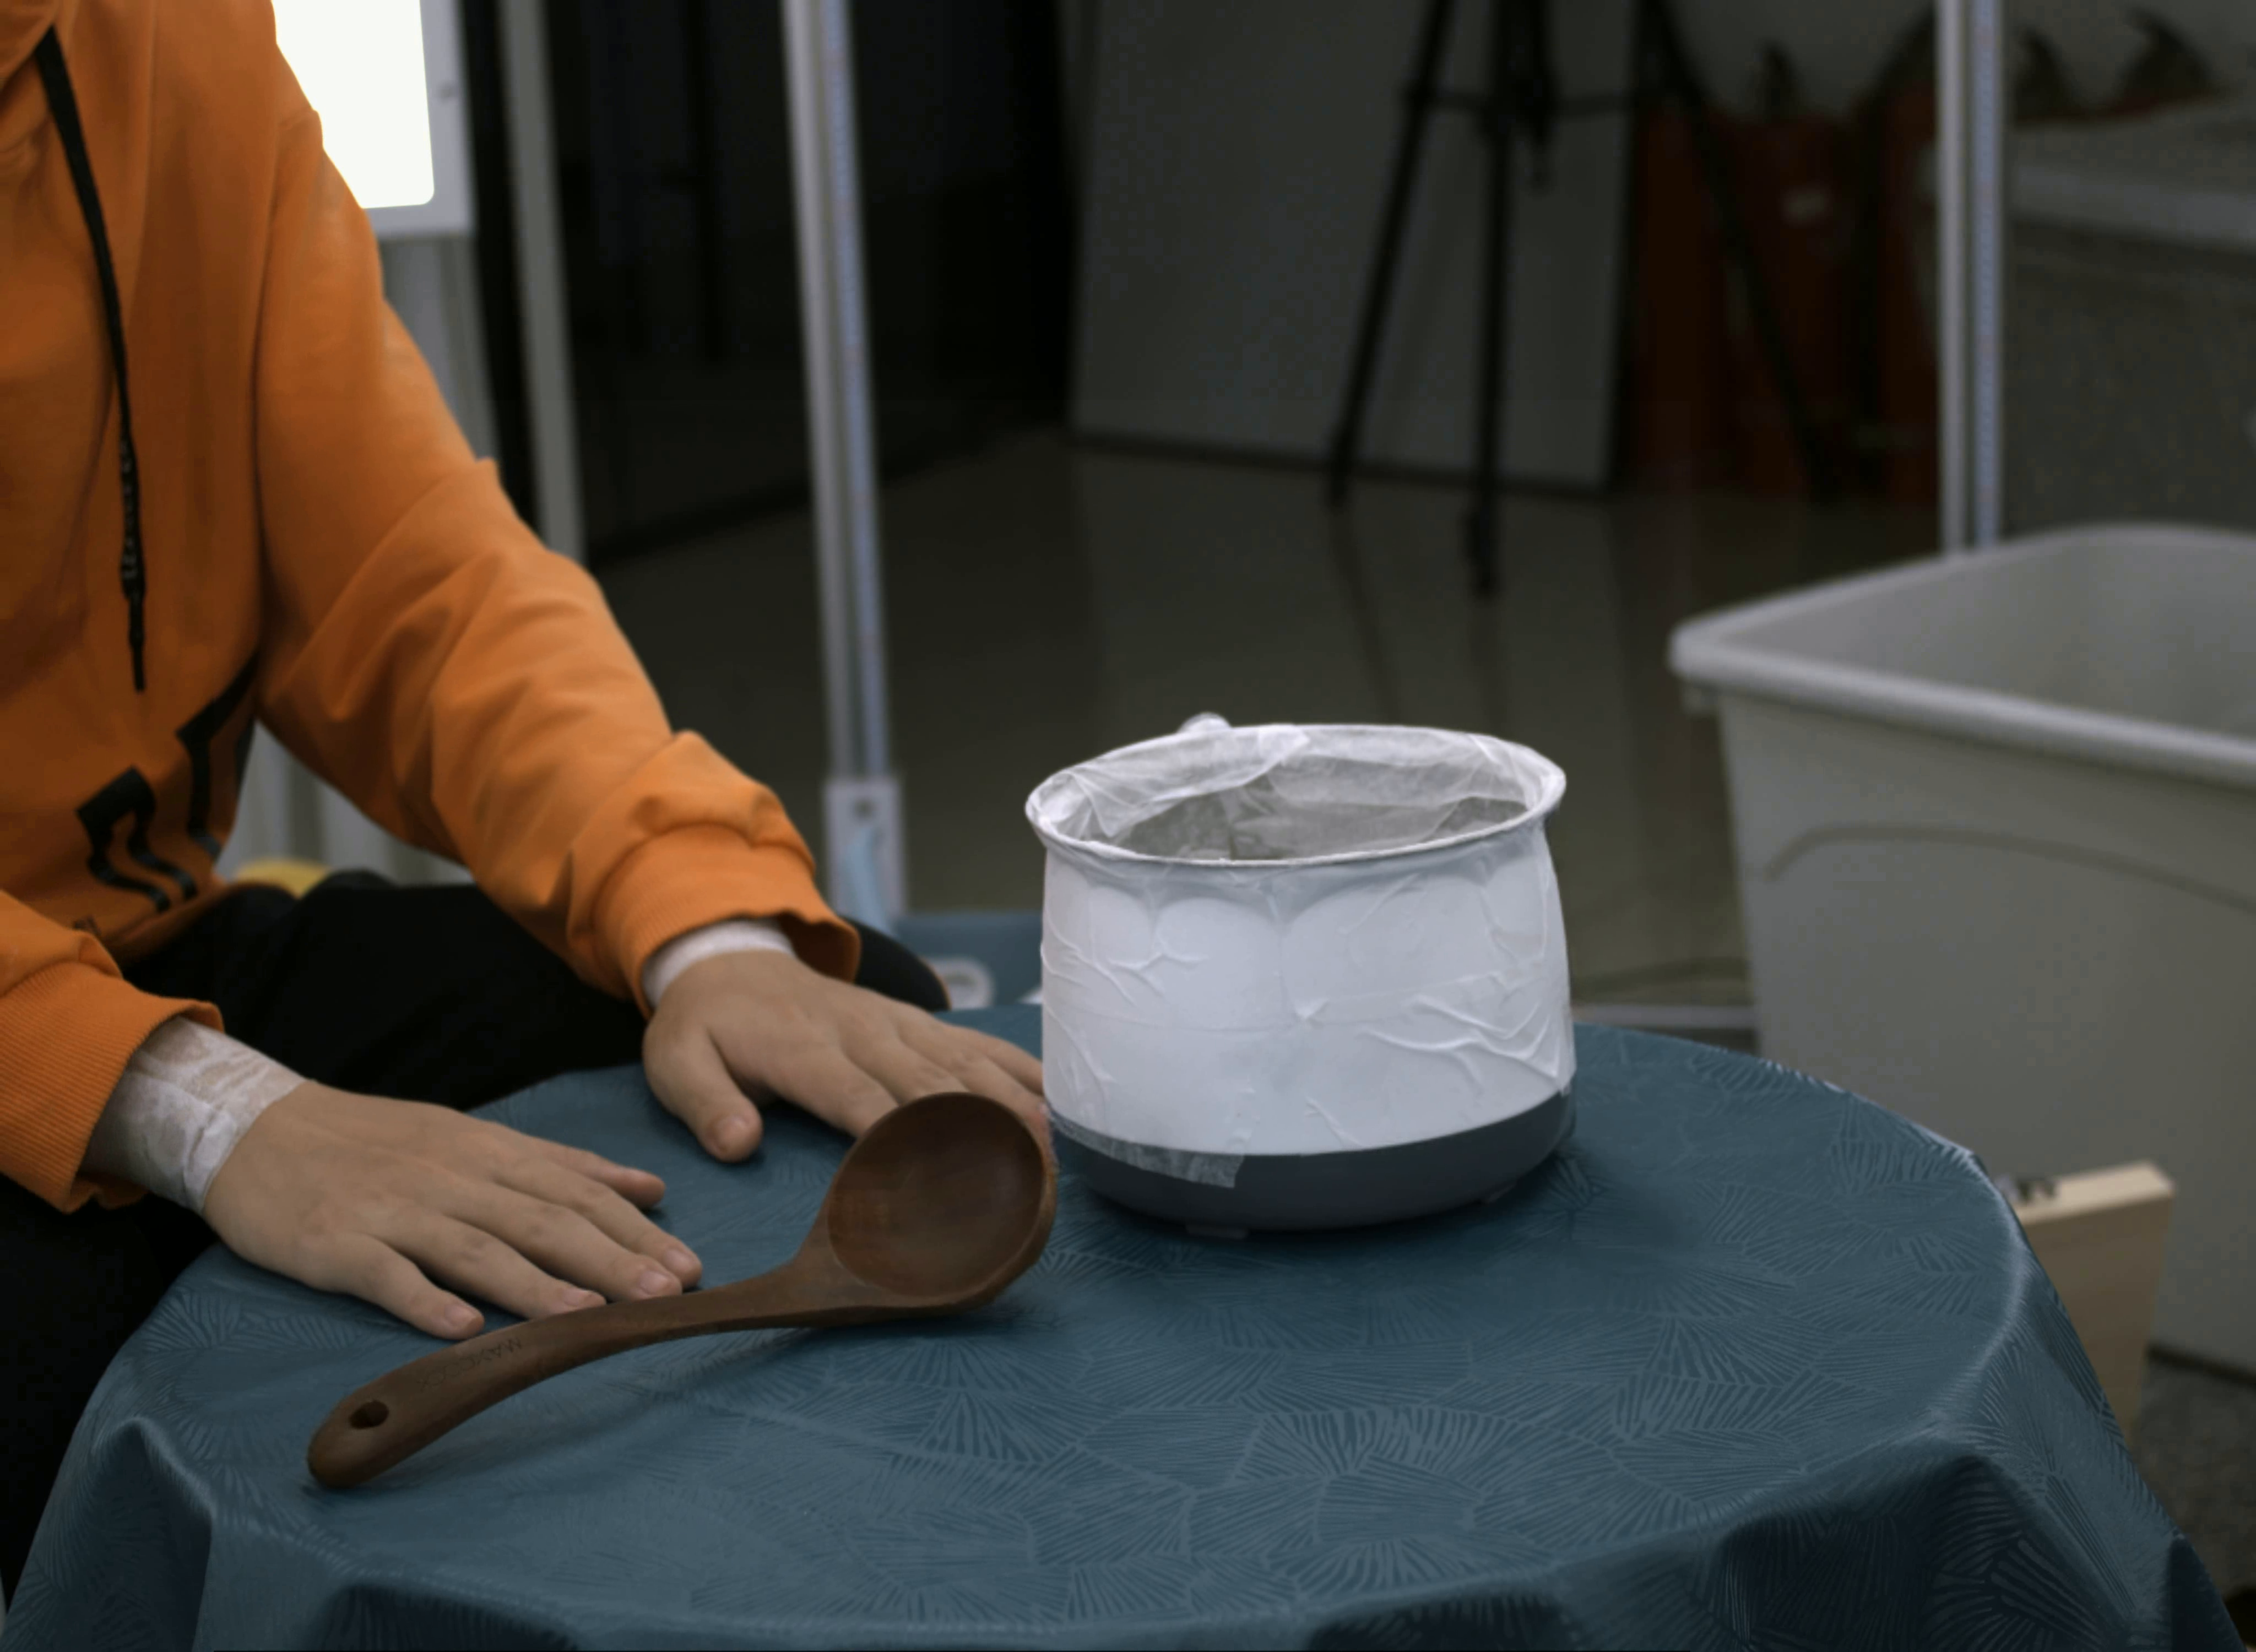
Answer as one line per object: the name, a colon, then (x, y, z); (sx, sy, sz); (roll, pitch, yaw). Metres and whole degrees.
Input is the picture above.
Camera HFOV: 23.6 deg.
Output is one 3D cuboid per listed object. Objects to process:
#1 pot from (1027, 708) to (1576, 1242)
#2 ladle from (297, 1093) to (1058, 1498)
pot: (0.049, 0.043, 1.784); (0.175, 0.138, 0.235); (-7, 14, -16)
ladle: (-0.131, 0.138, 1.611); (0.254, 0.066, 0.077); (-14, 38, -36)
